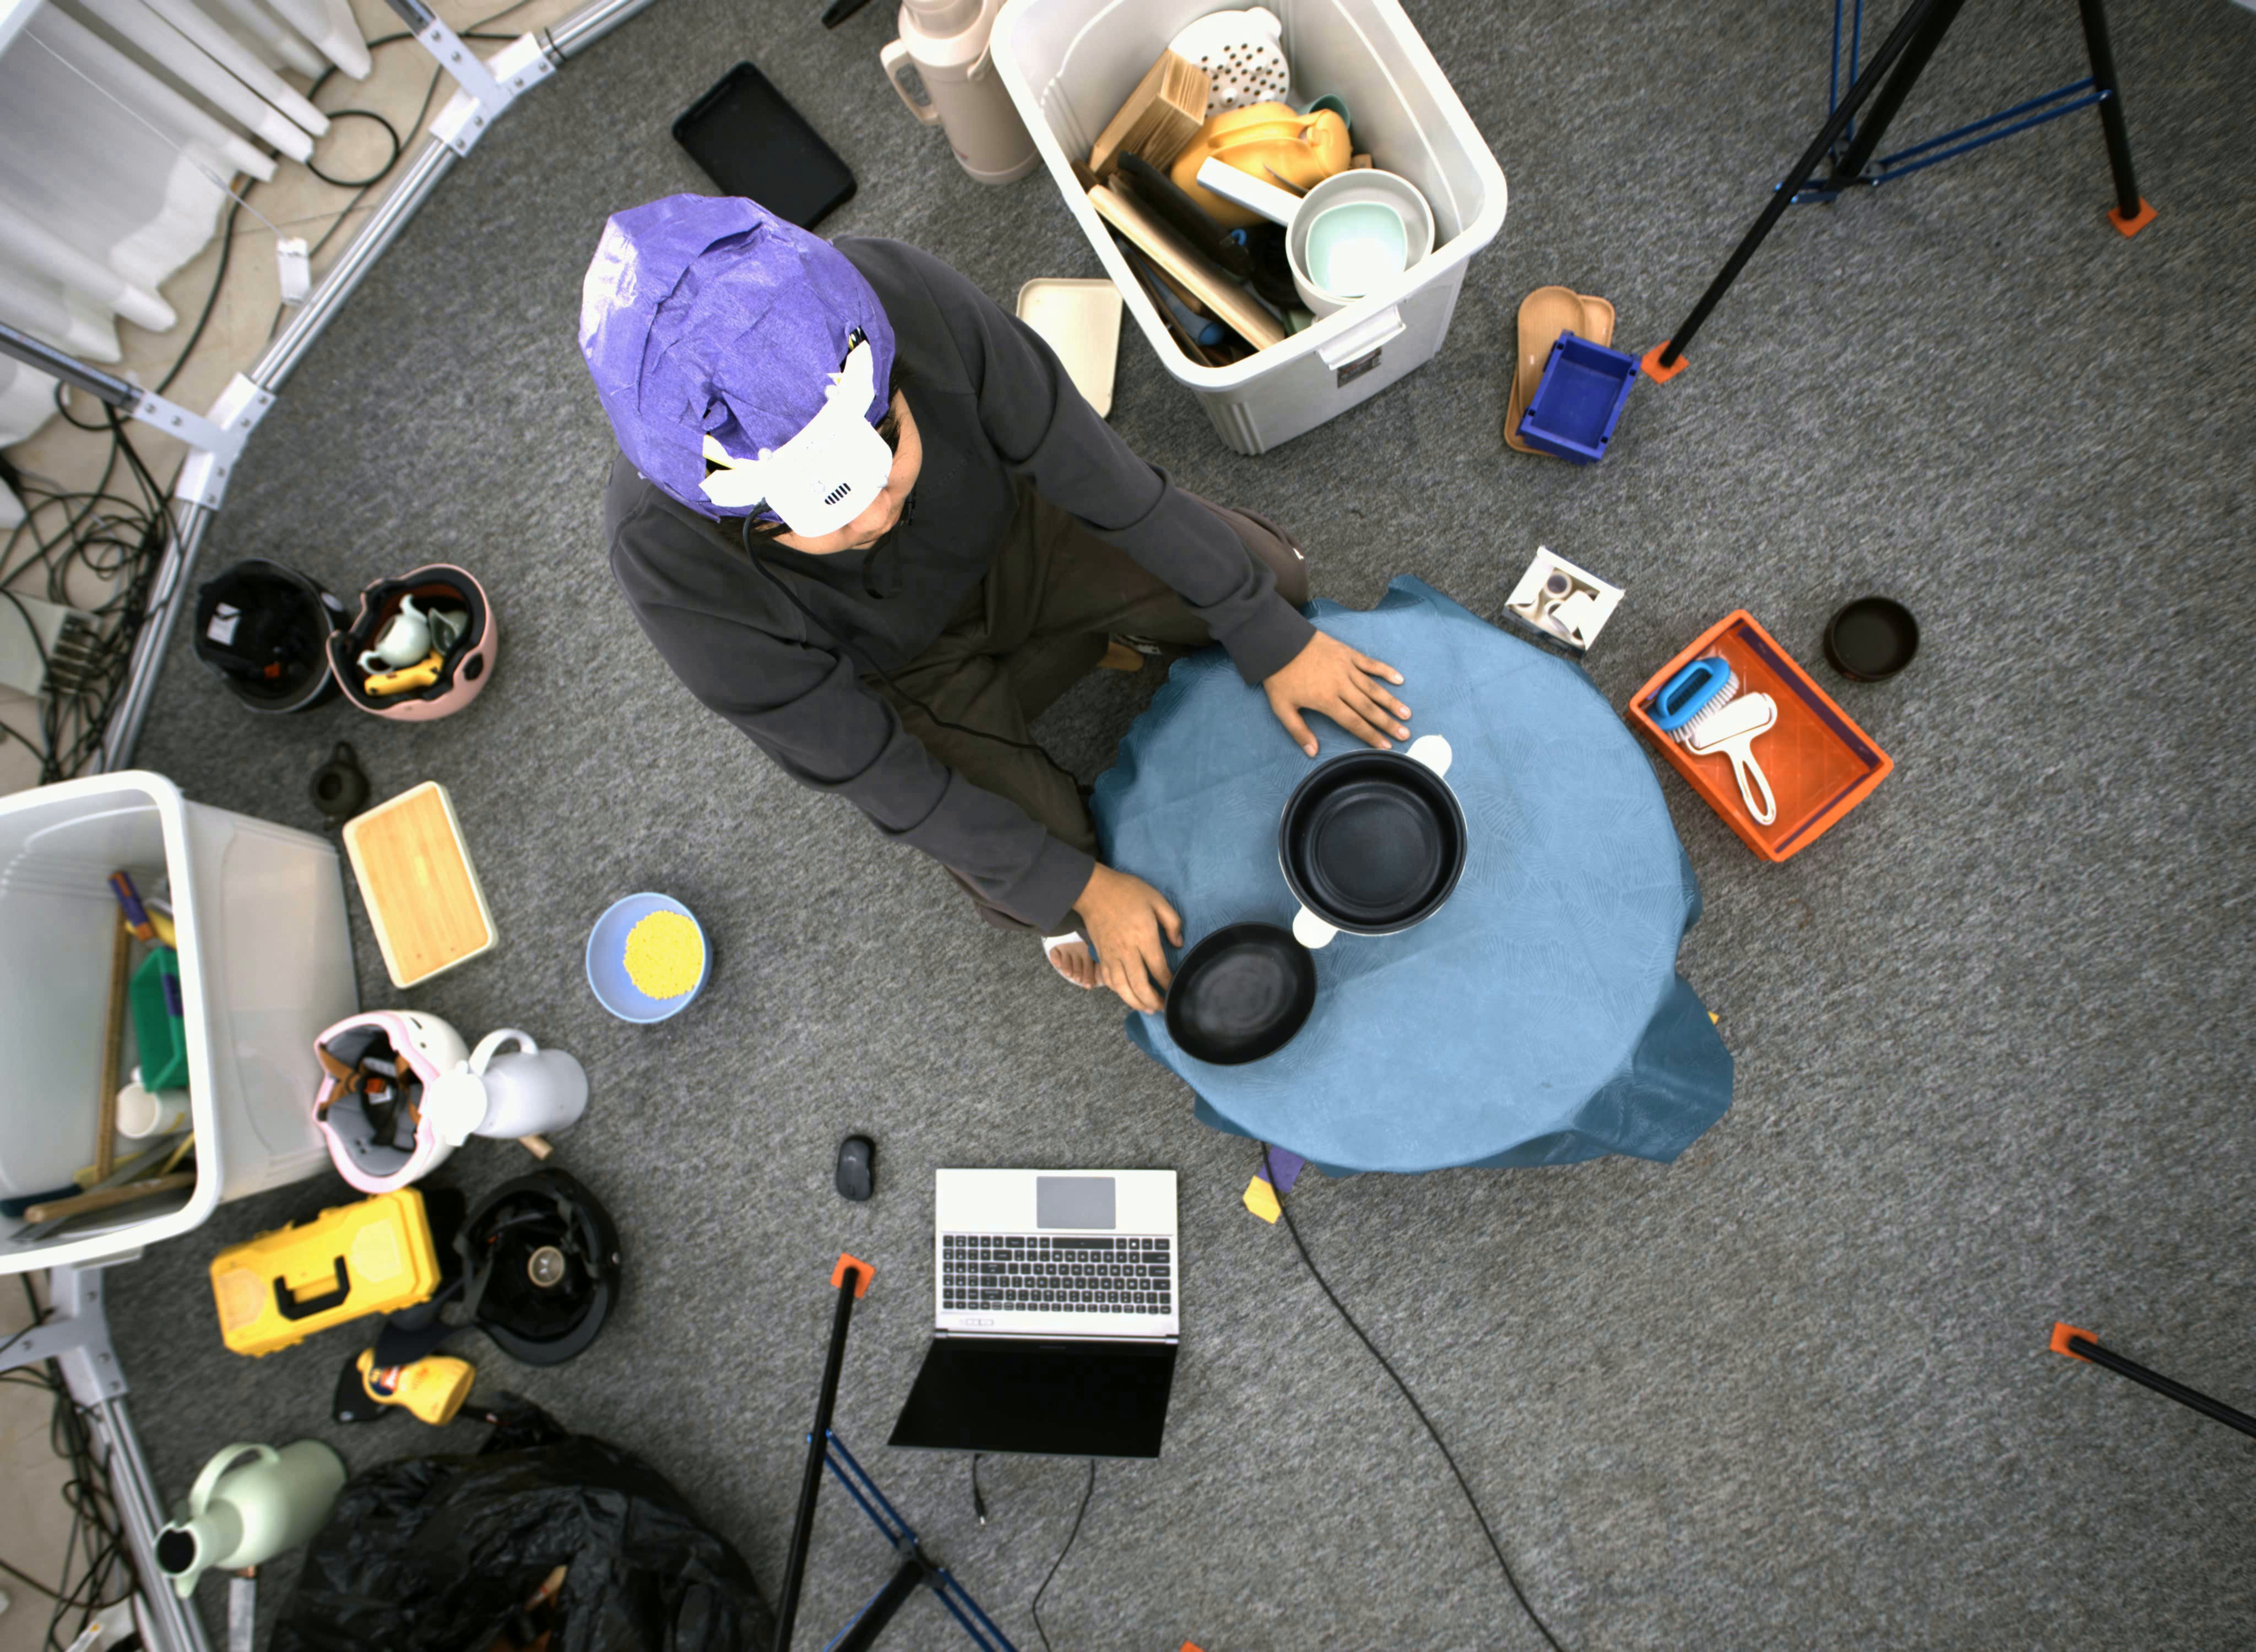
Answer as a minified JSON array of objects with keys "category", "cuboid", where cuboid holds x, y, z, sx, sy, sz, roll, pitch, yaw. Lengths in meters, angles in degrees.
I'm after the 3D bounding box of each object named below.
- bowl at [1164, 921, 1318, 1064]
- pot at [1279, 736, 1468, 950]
[{"category":"bowl","cuboid":[0.120,0.175,1.451,0.171,0.066,0.136,-37,80,8]},{"category":"pot","cuboid":[0.243,0.020,1.399,0.190,0.143,0.240,33,91,8]}]
